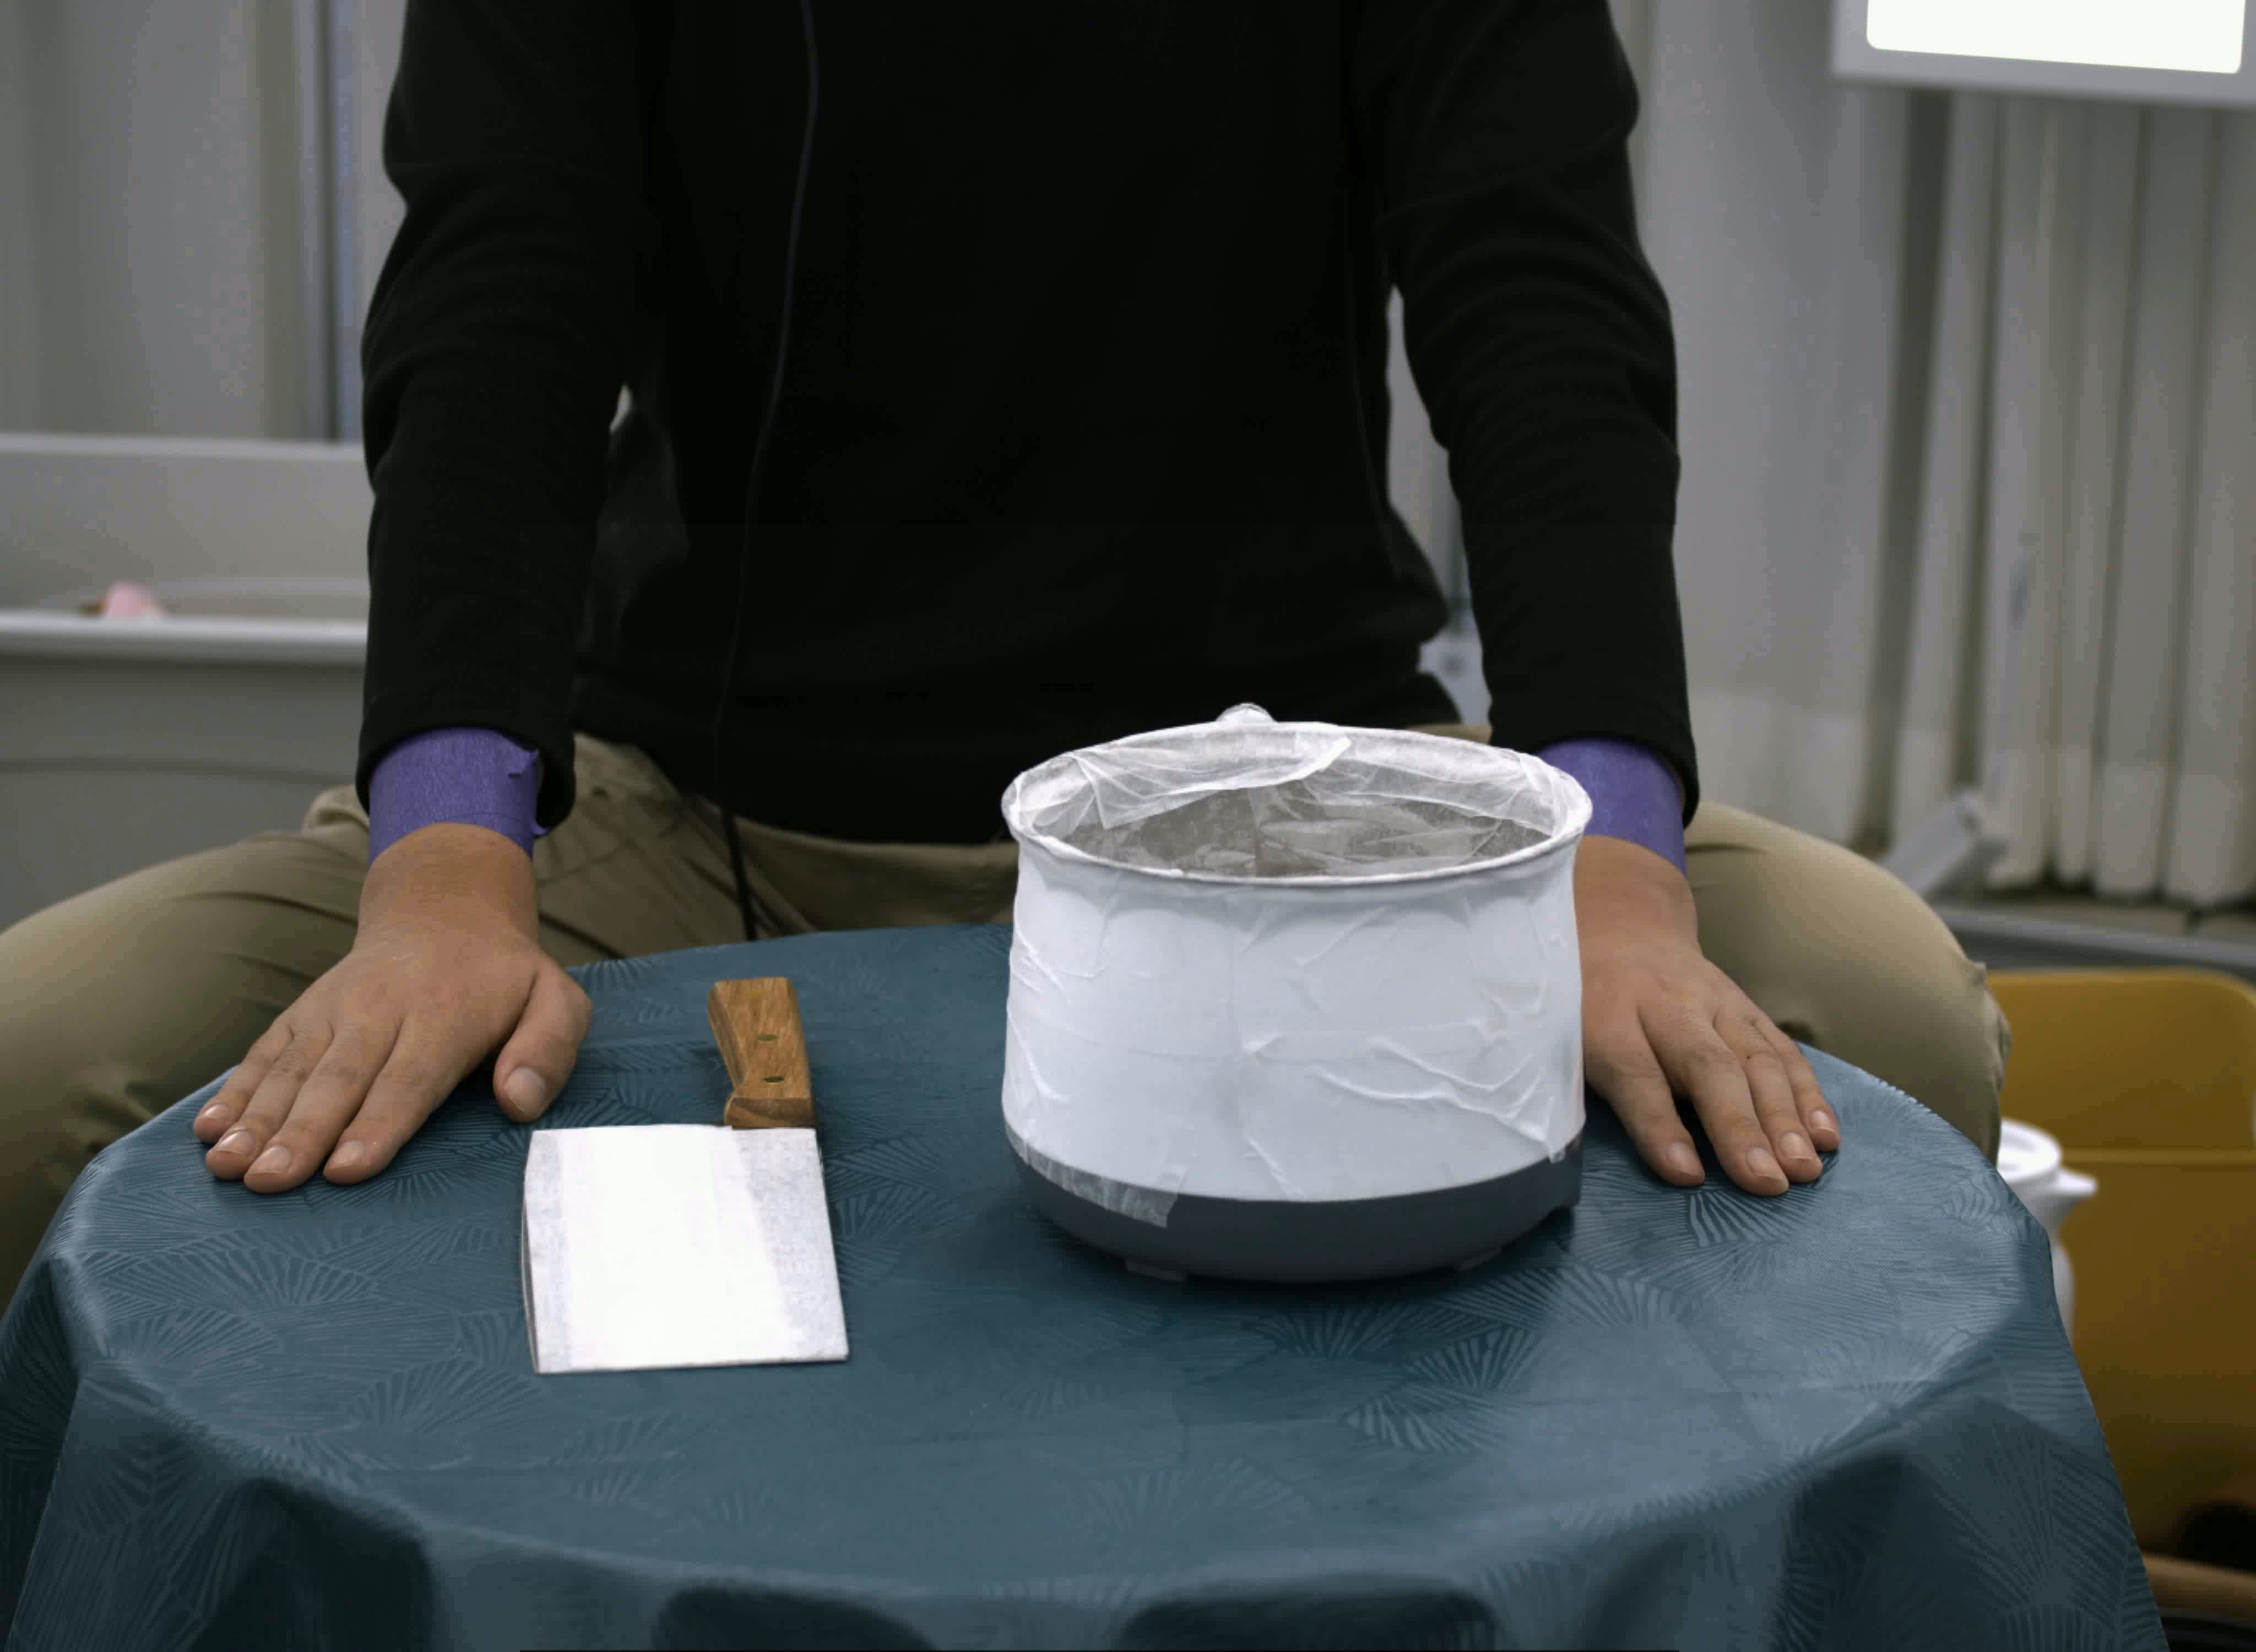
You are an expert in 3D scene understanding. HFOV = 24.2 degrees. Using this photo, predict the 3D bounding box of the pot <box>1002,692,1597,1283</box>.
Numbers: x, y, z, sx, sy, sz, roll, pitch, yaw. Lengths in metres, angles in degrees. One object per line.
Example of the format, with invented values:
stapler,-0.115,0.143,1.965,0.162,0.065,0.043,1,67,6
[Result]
pot,0.046,0.044,1.608,0.178,0.138,0.232,-2,17,-9

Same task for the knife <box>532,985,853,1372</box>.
knife,-0.136,0.106,1.616,0.093,0.021,0.303,-1,17,-6
